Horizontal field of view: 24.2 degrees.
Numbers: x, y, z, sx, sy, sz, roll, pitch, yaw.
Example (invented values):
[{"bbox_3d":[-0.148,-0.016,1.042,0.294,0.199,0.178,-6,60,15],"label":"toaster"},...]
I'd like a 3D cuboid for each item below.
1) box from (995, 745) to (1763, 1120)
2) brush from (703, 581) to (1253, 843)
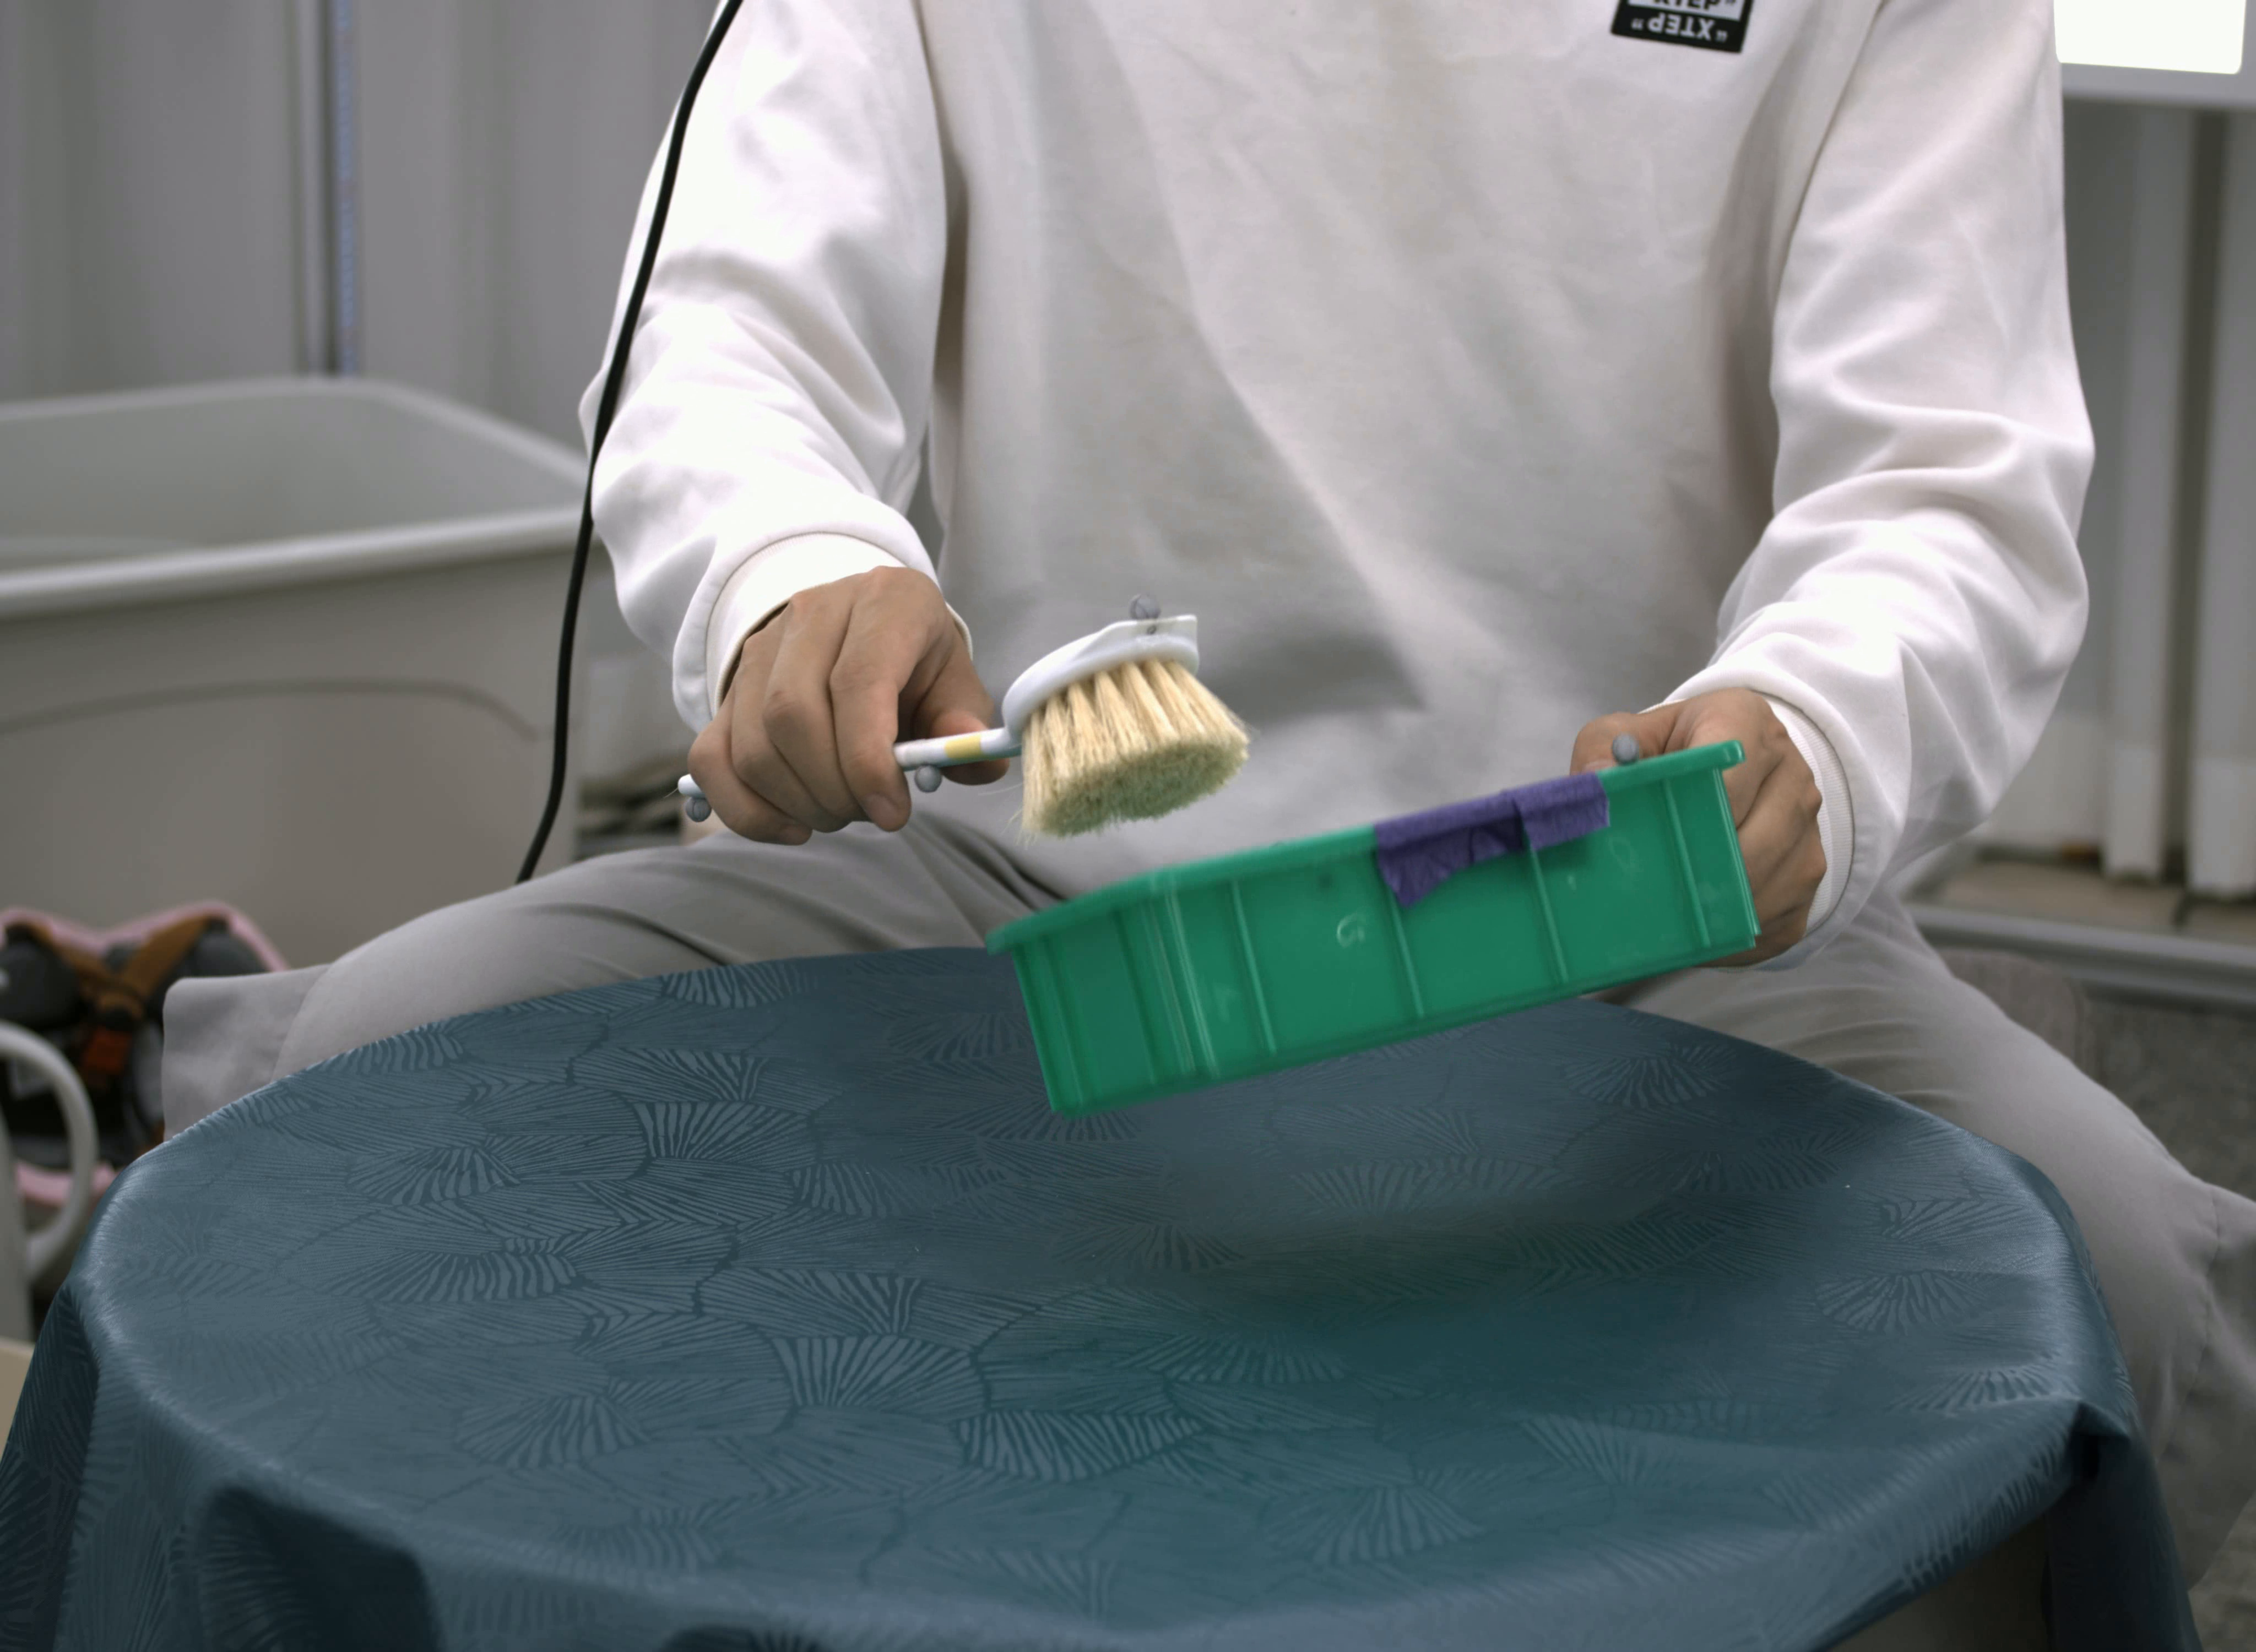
[{"bbox_3d":[0.078,0.033,1.553,0.211,0.065,0.138,-11,-3,-24],"label":"box"},{"bbox_3d":[-0.053,-0.010,1.590,0.069,0.056,0.265,7,-19,-34],"label":"brush"}]
